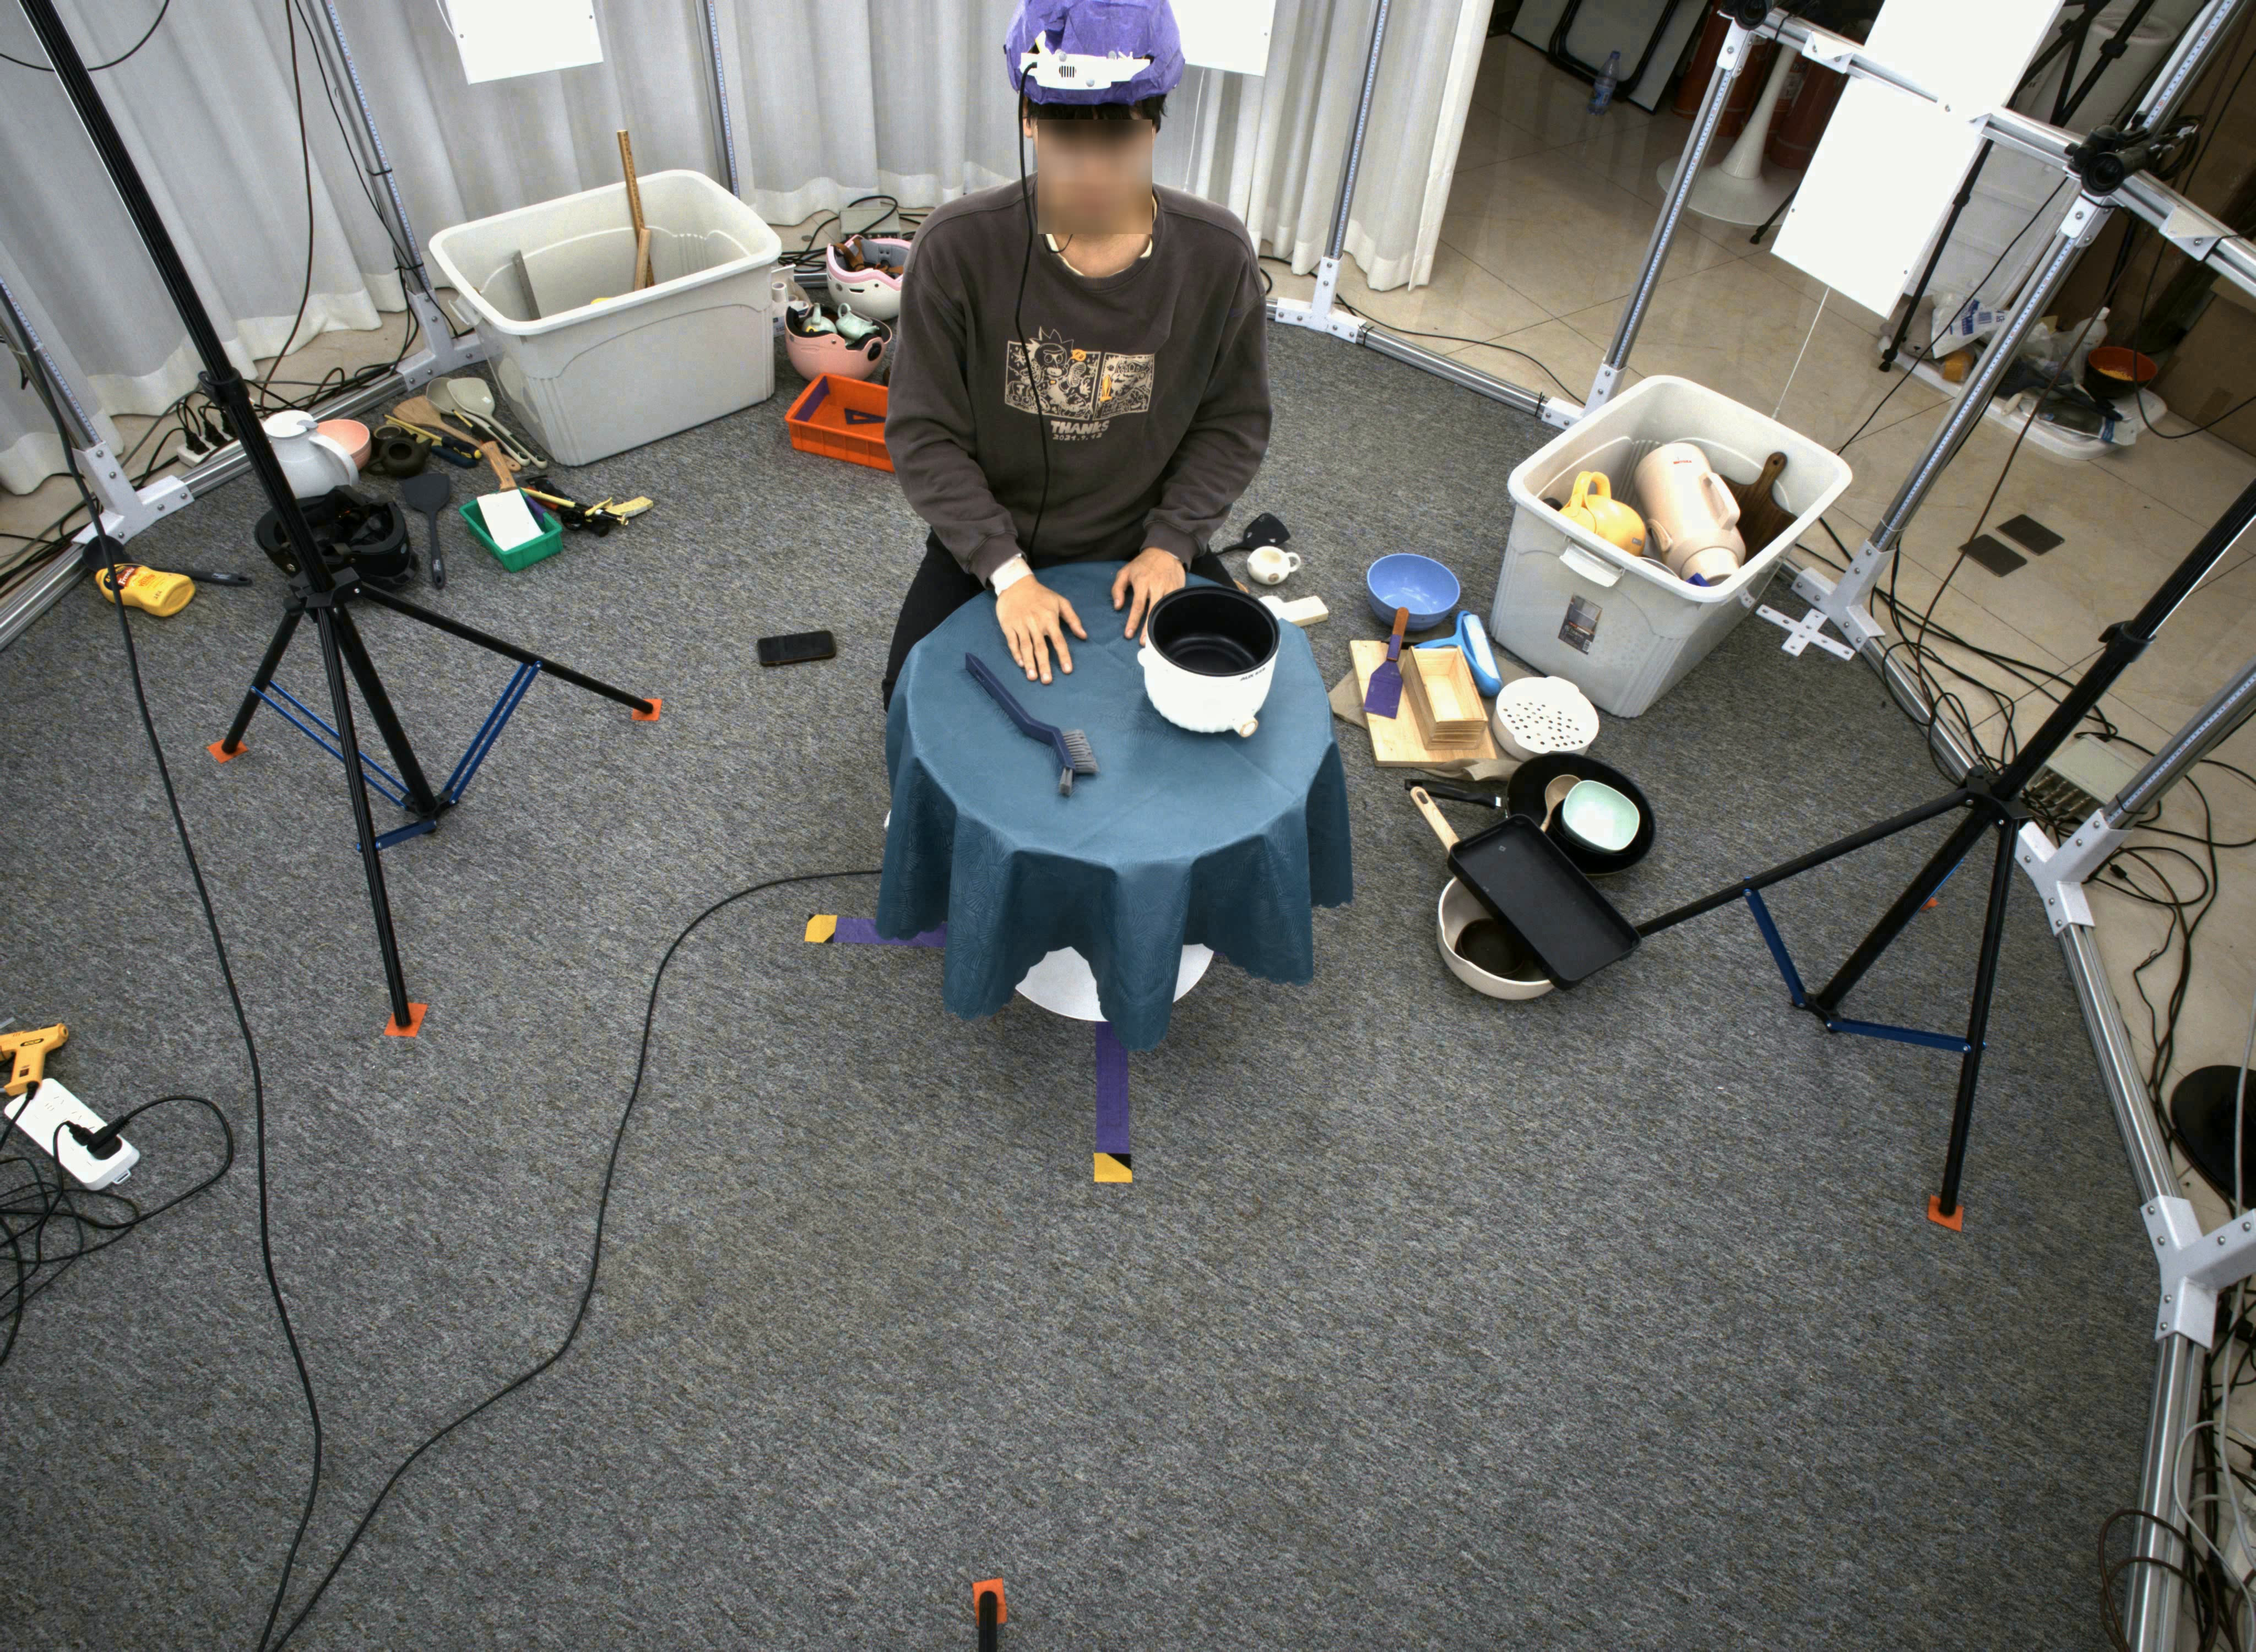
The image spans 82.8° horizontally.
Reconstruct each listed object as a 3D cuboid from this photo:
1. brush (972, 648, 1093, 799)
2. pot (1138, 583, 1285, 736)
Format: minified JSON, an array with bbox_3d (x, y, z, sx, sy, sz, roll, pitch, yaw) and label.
[{"bbox_3d":[-0.149,-0.147,1.764,0.096,0.033,0.277,-34,60,-28],"label":"brush"},{"bbox_3d":[0.118,-0.222,1.776,0.241,0.139,0.194,-27,52,-23],"label":"pot"}]
